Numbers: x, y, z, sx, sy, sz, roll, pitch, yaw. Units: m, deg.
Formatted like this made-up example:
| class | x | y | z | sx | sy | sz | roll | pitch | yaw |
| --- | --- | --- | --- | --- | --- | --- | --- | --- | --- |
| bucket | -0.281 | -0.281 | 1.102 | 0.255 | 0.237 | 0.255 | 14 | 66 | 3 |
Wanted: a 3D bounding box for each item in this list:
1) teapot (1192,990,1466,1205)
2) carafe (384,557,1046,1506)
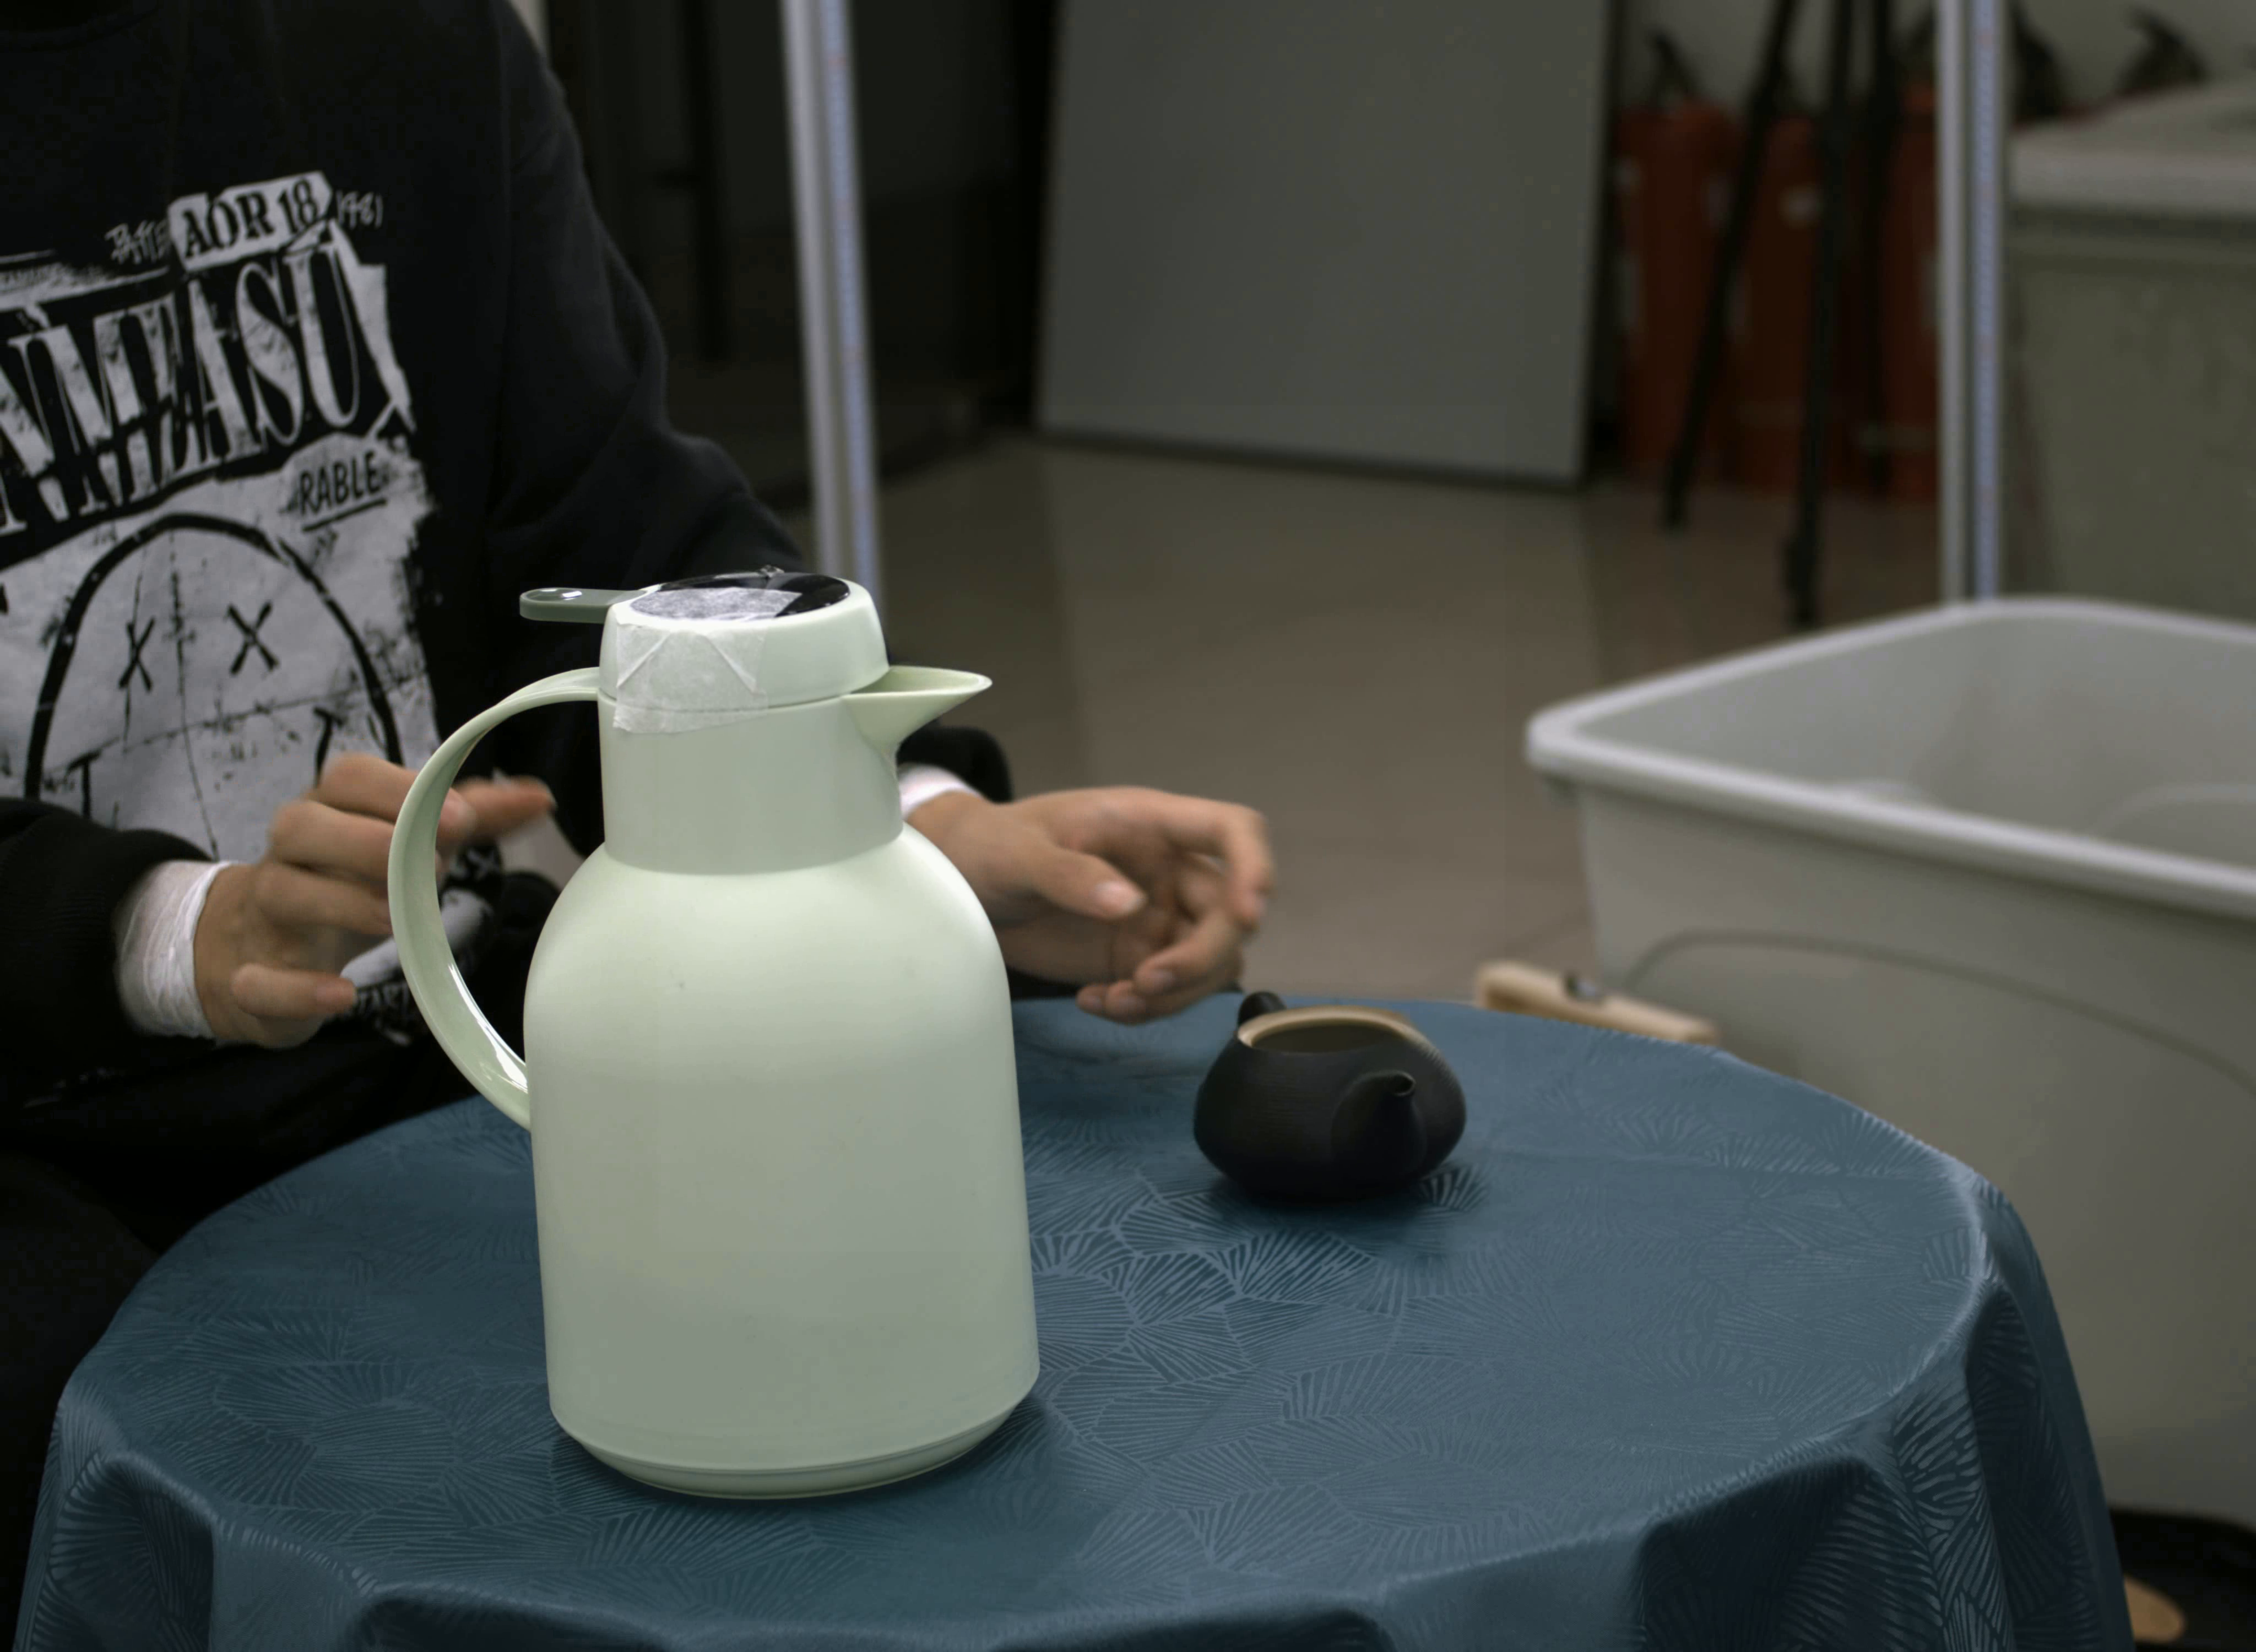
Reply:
| class | x | y | z | sx | sy | sz | roll | pitch | yaw |
| --- | --- | --- | --- | --- | --- | --- | --- | --- | --- |
| teapot | 0.066 | 0.091 | 1.764 | 0.089 | 0.053 | 0.134 | -7 | 15 | -19 |
| carafe | -0.117 | 0.055 | 1.556 | 0.186 | 0.259 | 0.143 | -3 | 14 | 18 |
